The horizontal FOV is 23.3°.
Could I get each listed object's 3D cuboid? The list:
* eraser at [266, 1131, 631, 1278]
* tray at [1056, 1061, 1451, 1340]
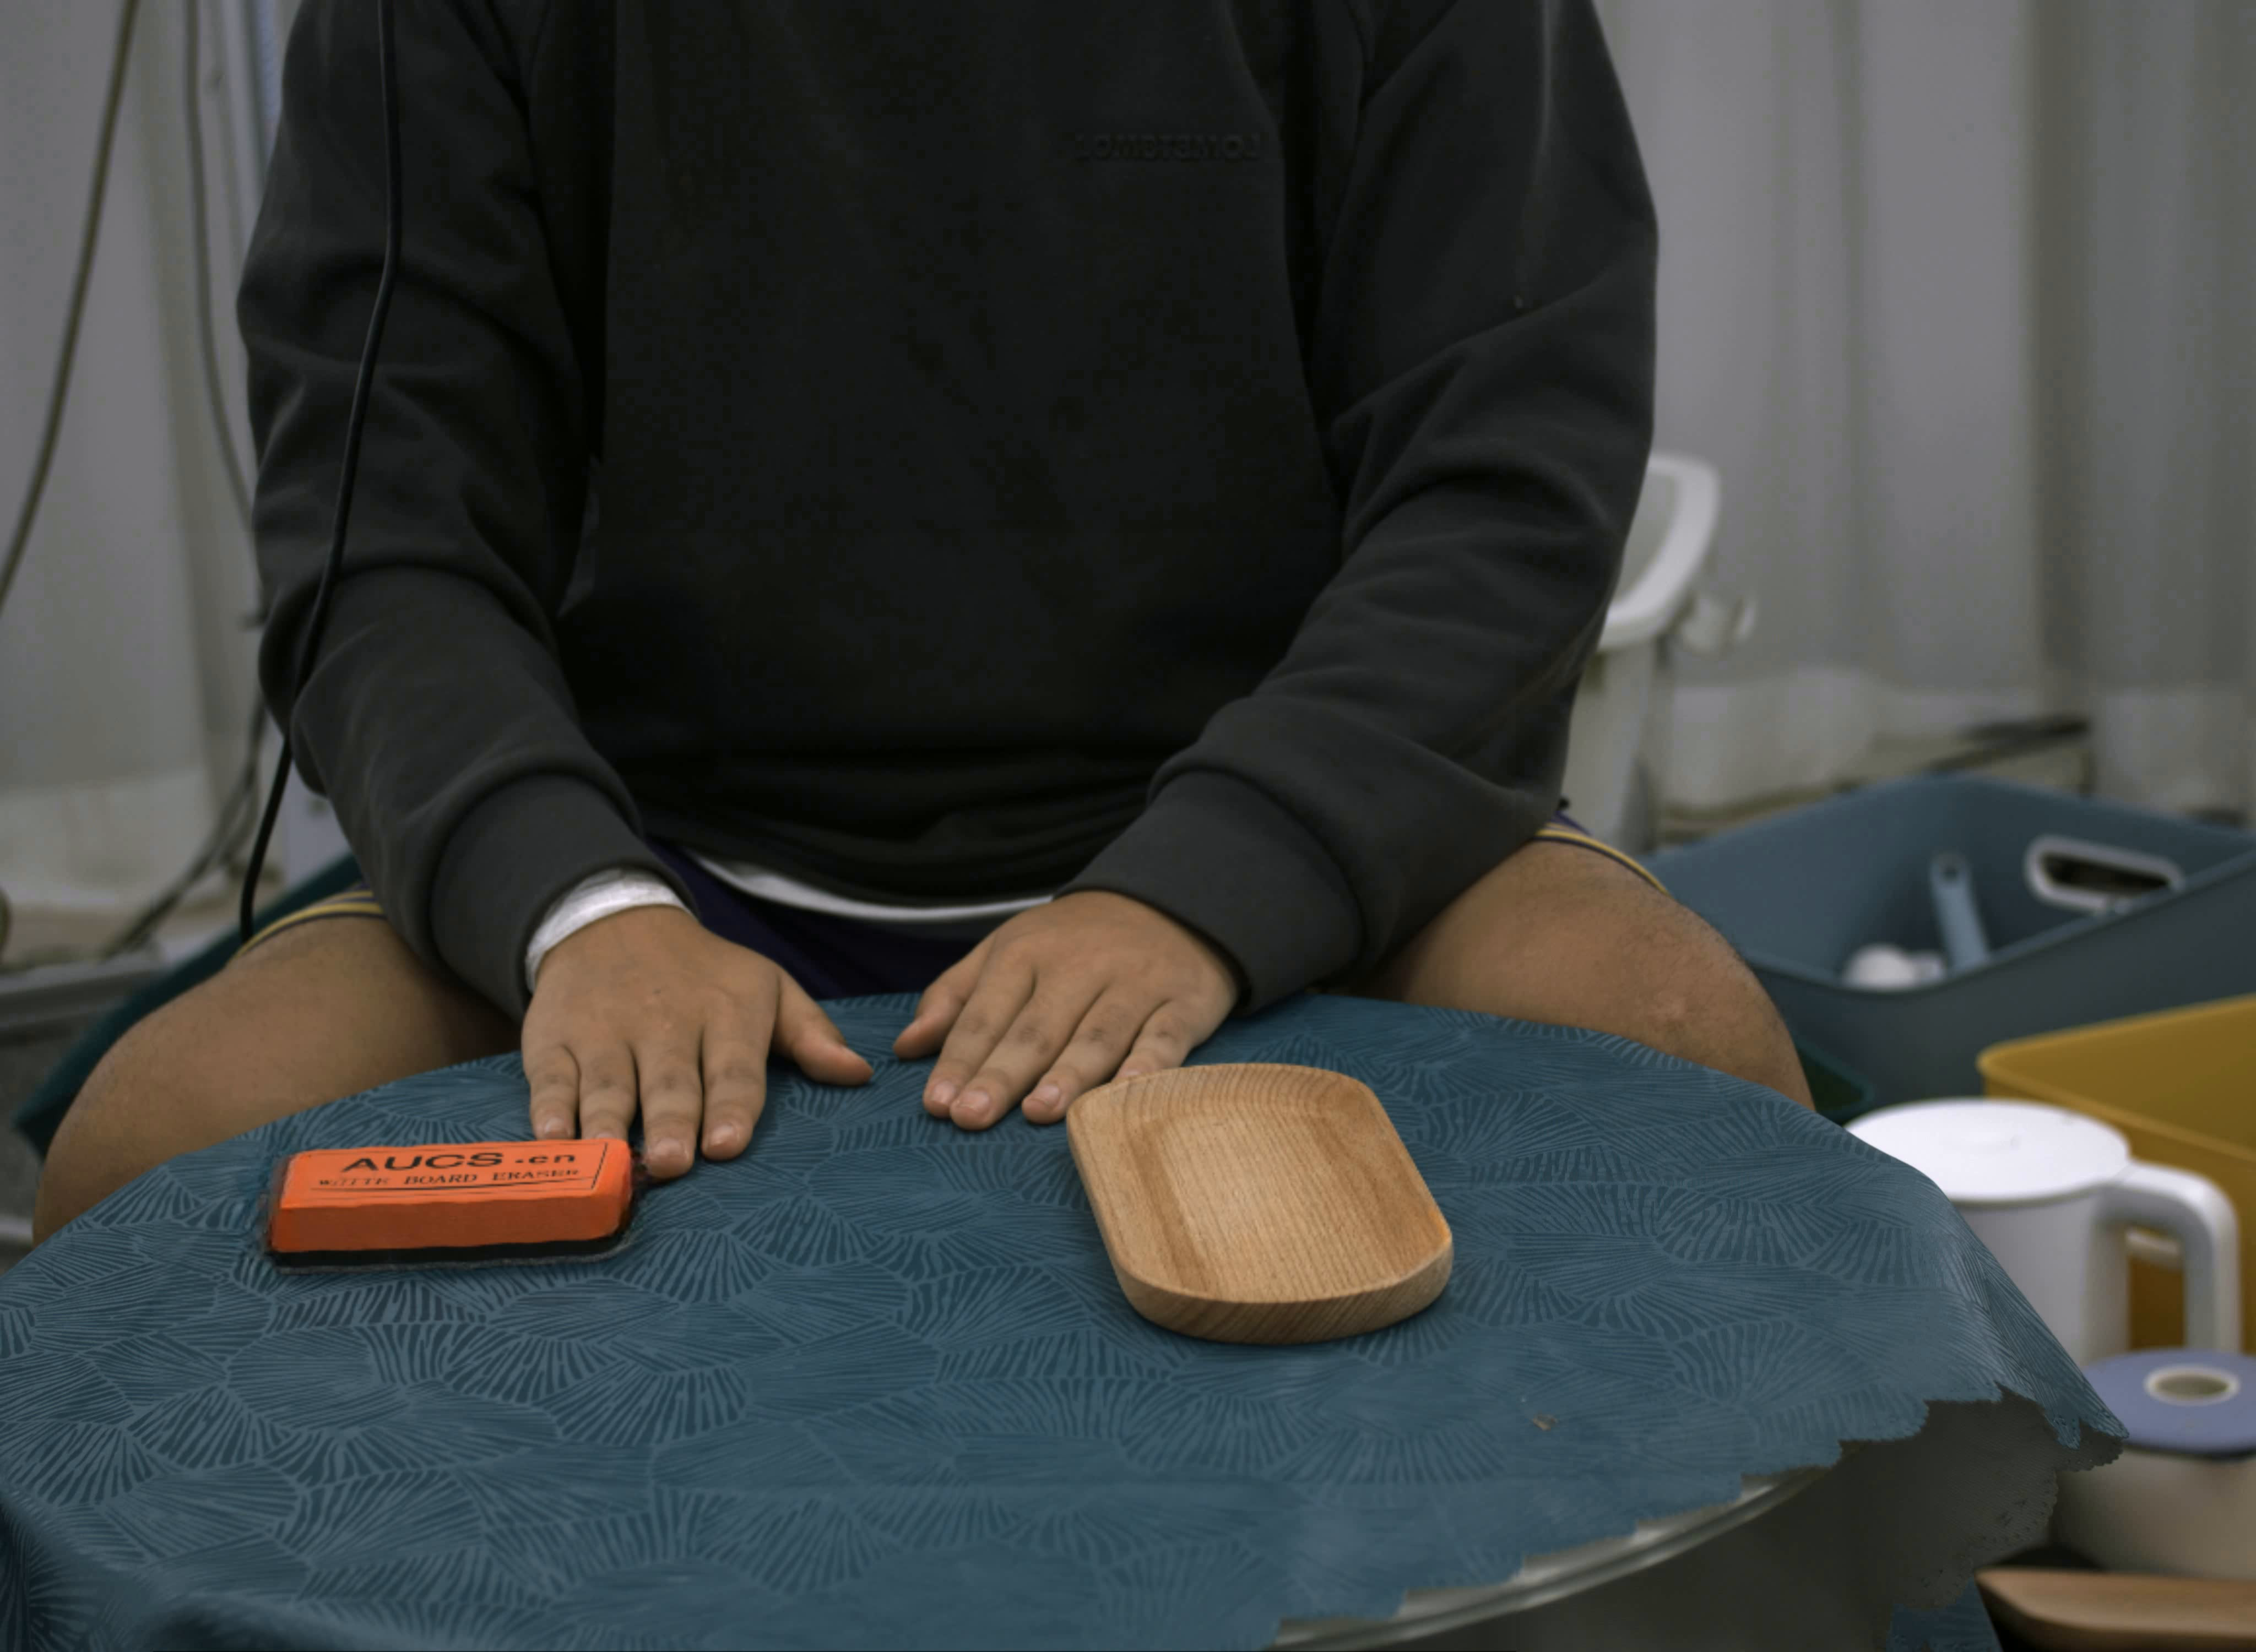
[{"bbox_3d":[-0.210,0.118,1.700,0.108,0.023,0.059,-2,22,3],"label":"eraser"},{"bbox_3d":[0.036,0.113,1.684,0.101,0.020,0.233,-4,14,-7],"label":"tray"}]
